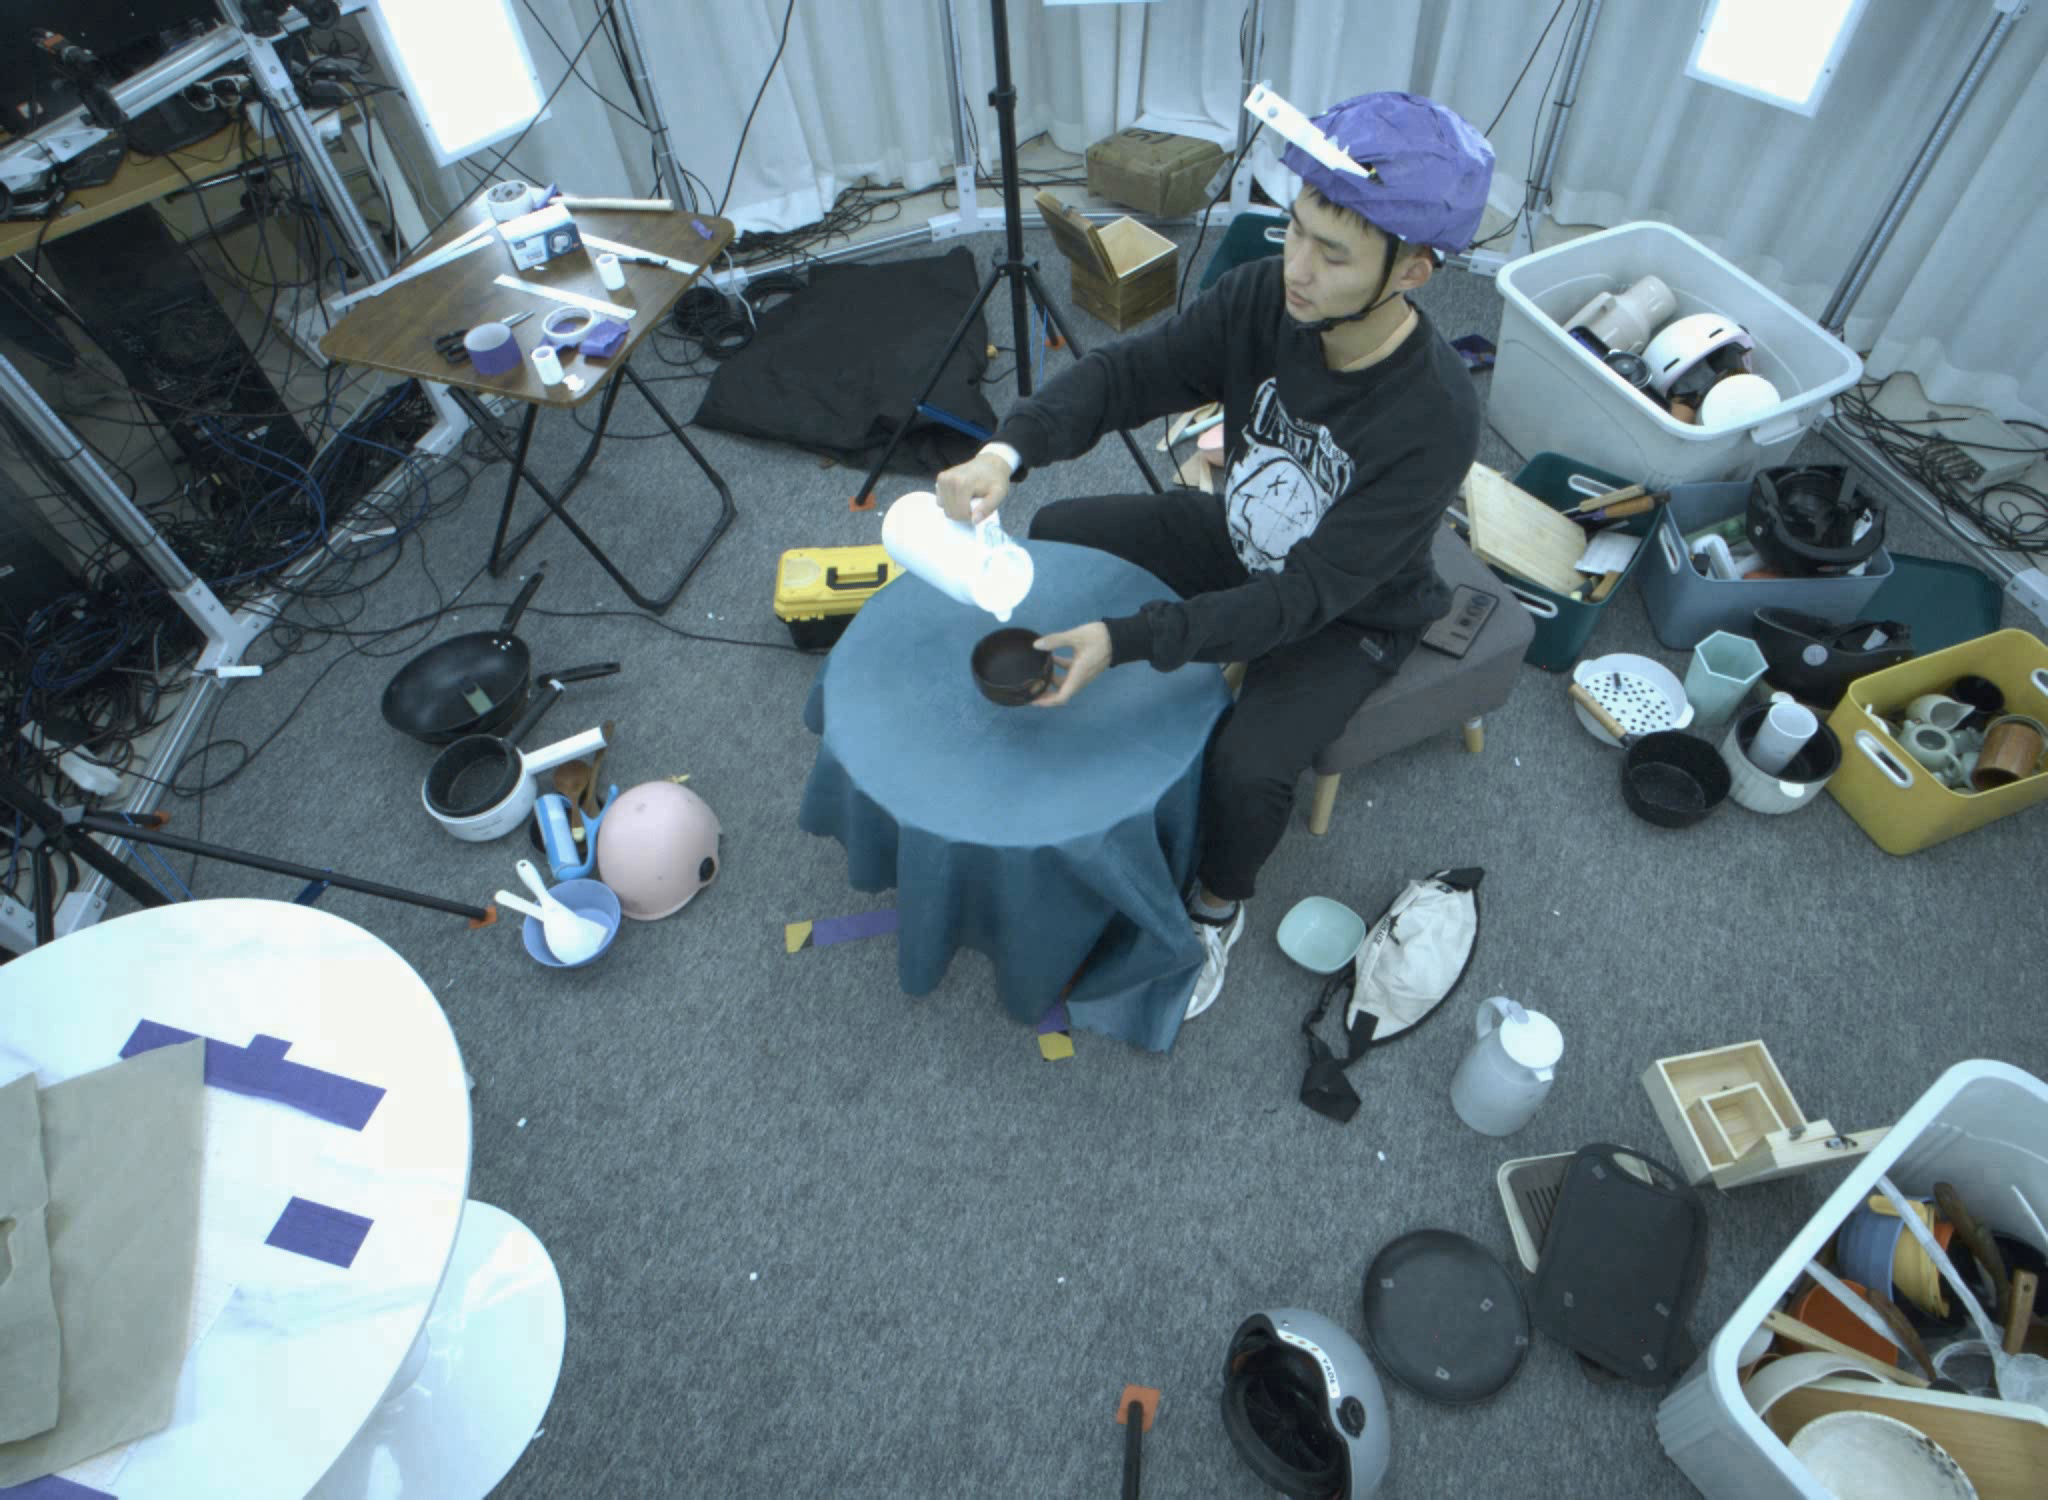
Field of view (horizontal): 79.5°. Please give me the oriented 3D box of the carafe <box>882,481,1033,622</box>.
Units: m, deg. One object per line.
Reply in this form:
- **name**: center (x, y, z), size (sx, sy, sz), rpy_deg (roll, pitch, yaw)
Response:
- **carafe**: center (-0.101, -0.295, 1.731), size (0.125, 0.175, 0.262), rpy_deg (-24, 35, -21)

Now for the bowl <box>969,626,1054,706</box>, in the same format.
- **bowl**: center (-0.015, -0.110, 1.733), size (0.117, 0.071, 0.117), rpy_deg (-3, 52, 6)
